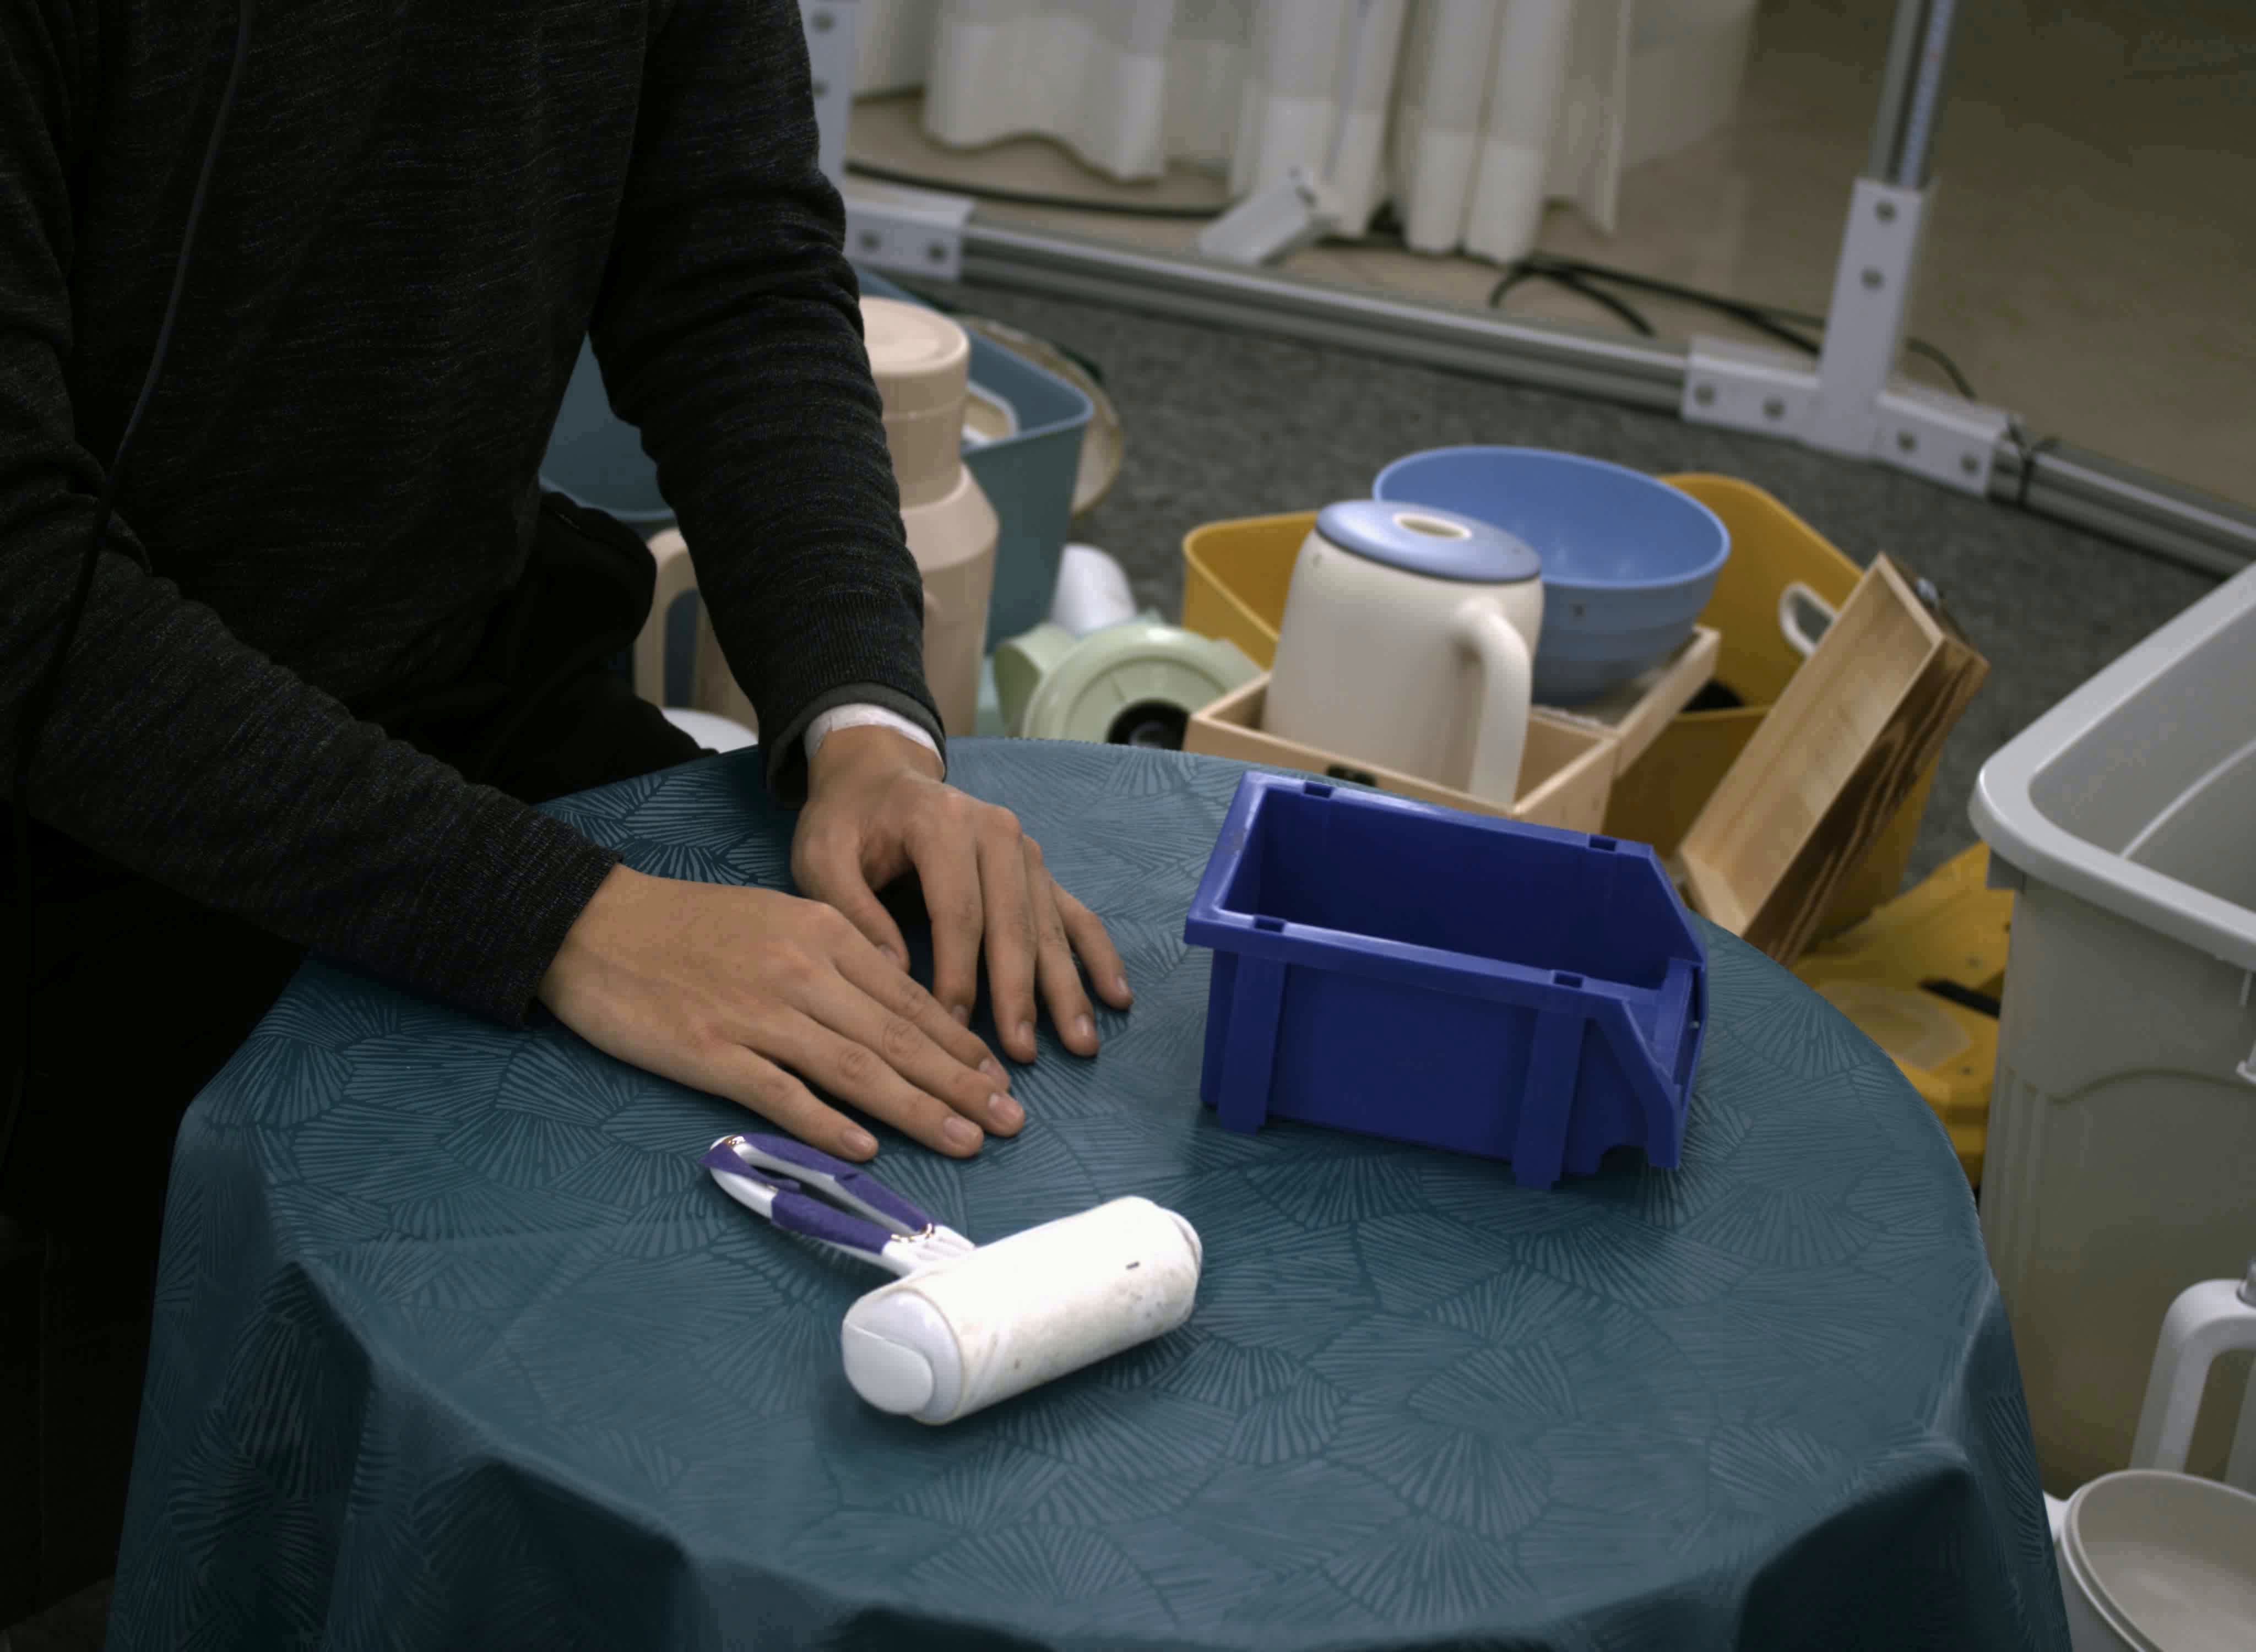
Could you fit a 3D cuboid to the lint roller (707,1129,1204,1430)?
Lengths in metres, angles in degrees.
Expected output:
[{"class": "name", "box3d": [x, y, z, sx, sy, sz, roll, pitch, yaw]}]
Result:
[{"class": "lint roller", "box3d": [-0.073, 0.127, 1.728, 0.132, 0.050, 0.182, -18, 37, -37]}]

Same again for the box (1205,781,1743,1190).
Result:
[{"class": "box", "box3d": [0.124, 0.057, 1.871, 0.179, 0.081, 0.125, 8, 26, 10]}]
